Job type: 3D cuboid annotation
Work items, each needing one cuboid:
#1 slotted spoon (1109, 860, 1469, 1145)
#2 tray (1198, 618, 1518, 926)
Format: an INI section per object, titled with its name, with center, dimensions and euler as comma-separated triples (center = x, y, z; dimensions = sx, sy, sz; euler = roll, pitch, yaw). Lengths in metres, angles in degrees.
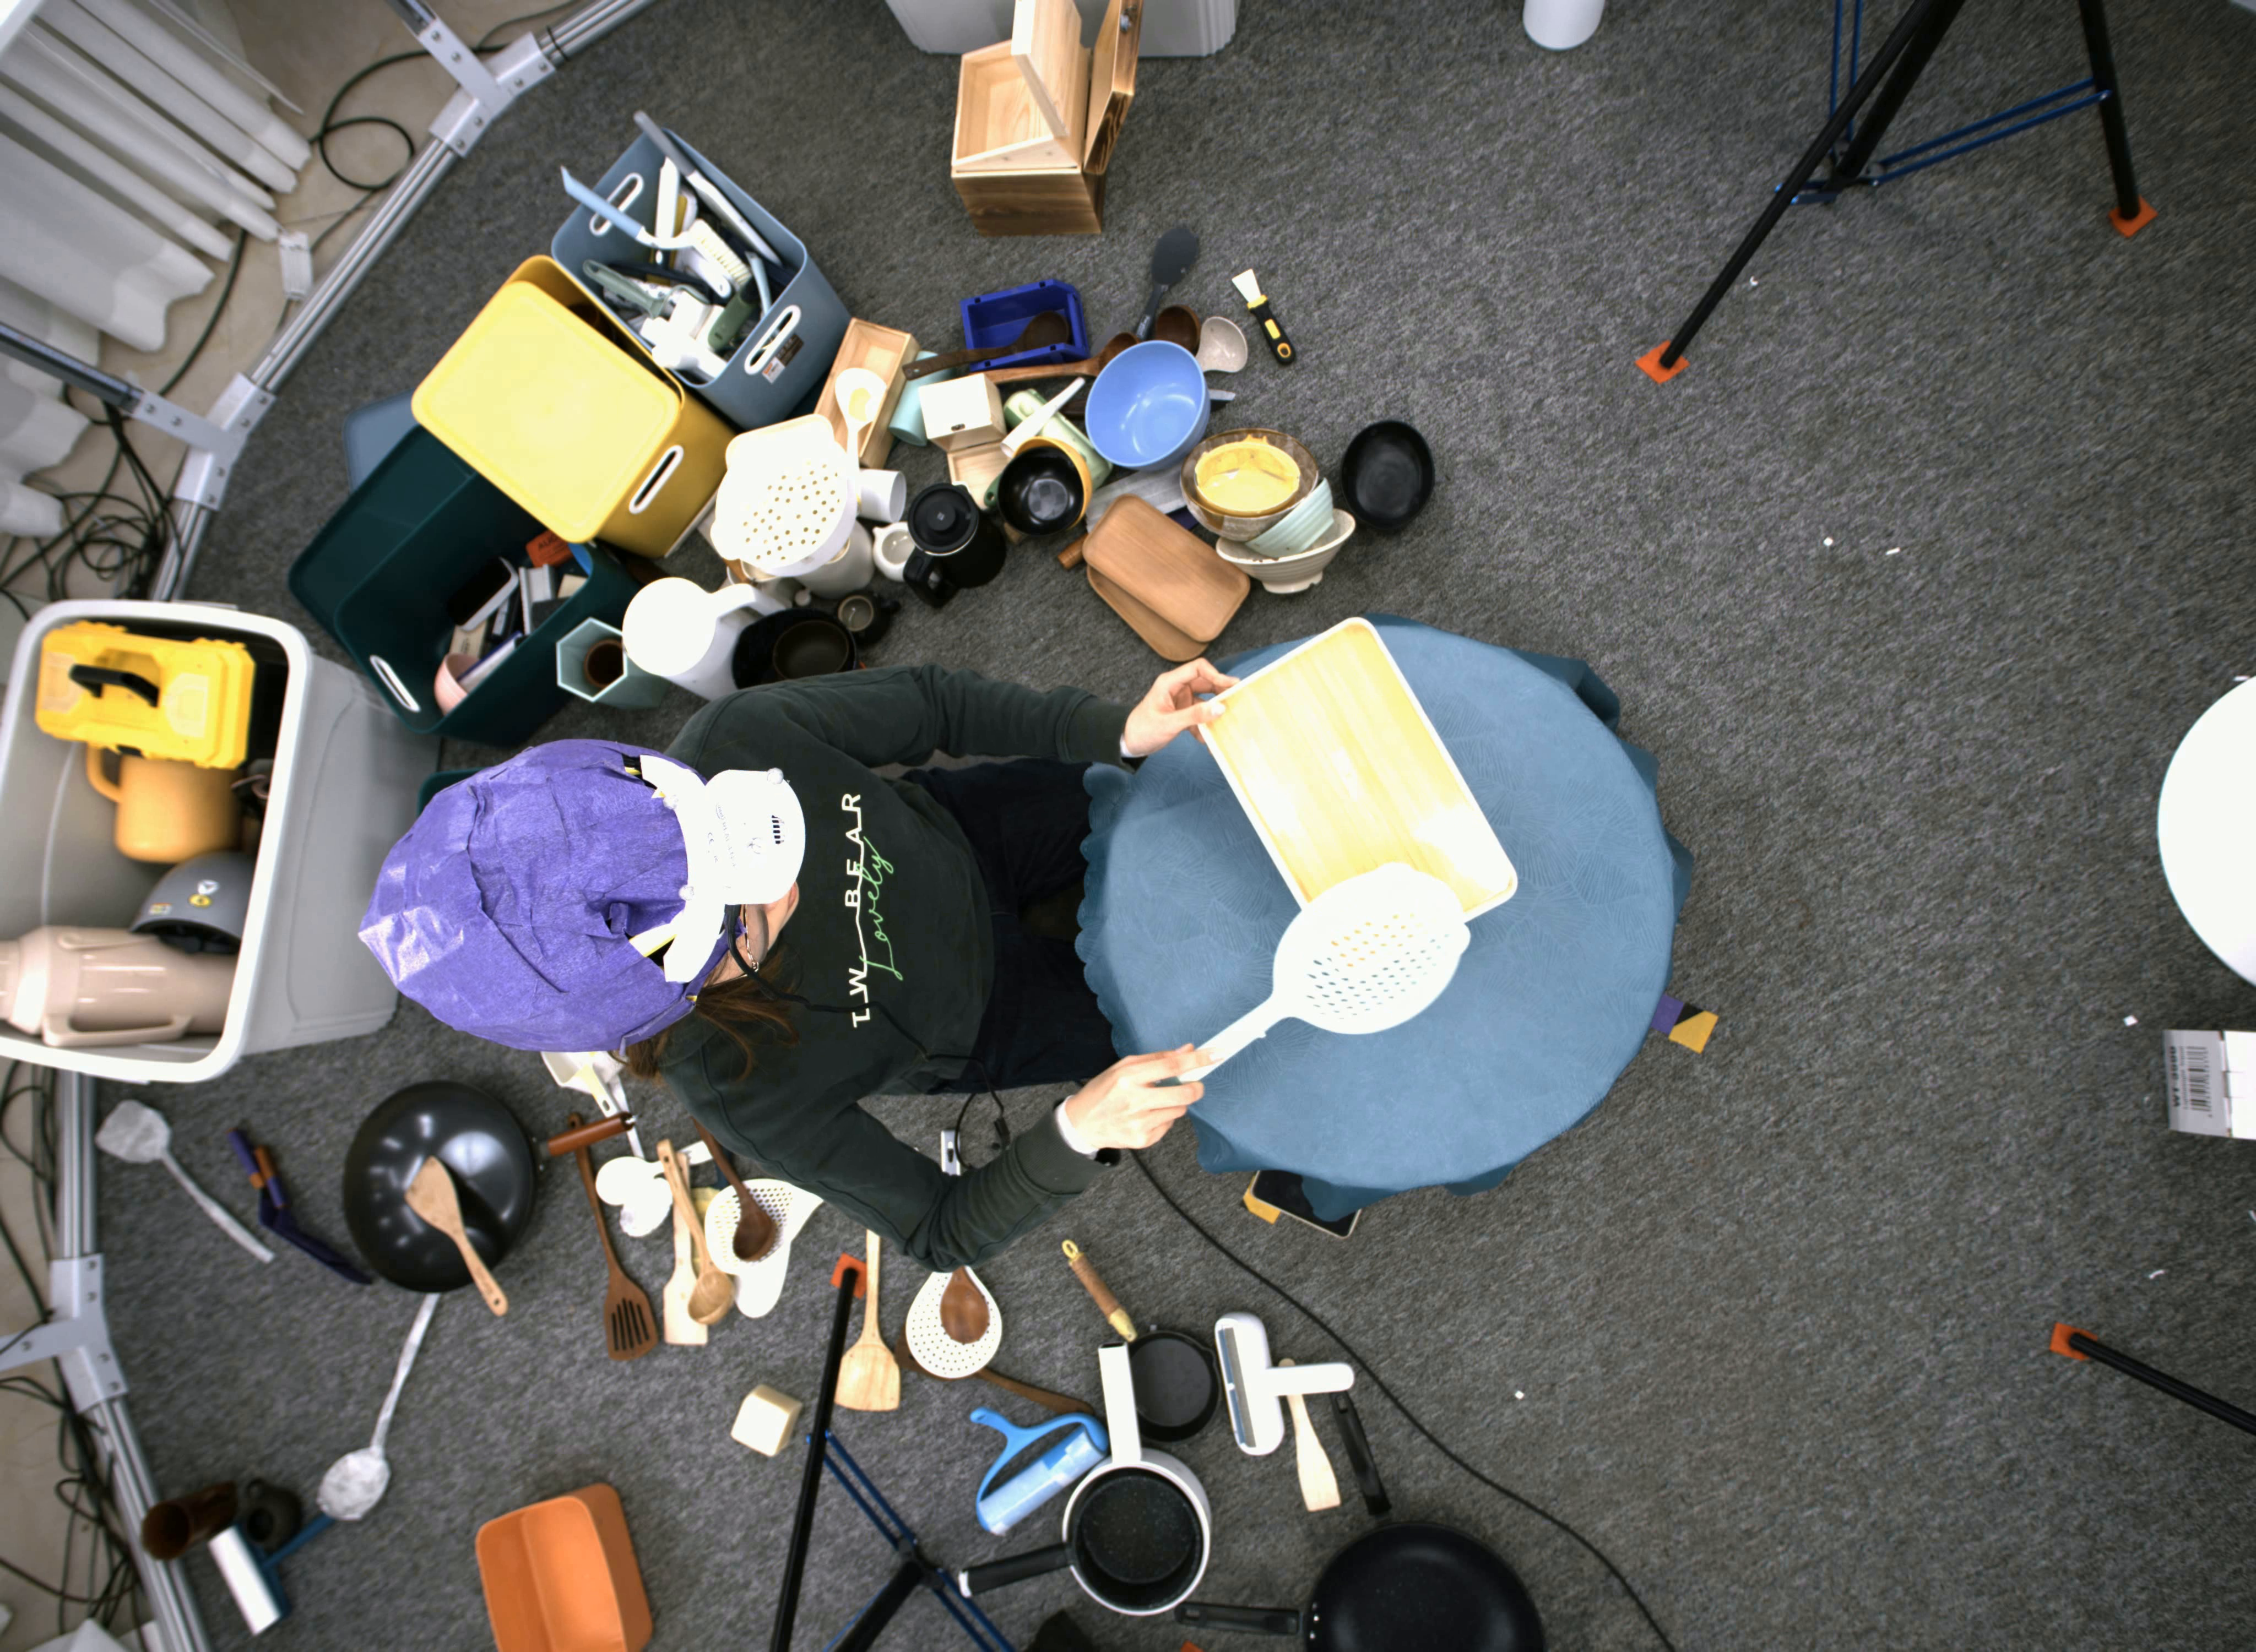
[slotted spoon]
center = 0.129, 0.162, 1.195
dimensions = 0.358, 0.166, 0.077
euler = -29, 123, -2
[tray]
center = 0.216, -0.026, 1.304
dimensions = 0.193, 0.027, 0.300
euler = -30, 91, 16
